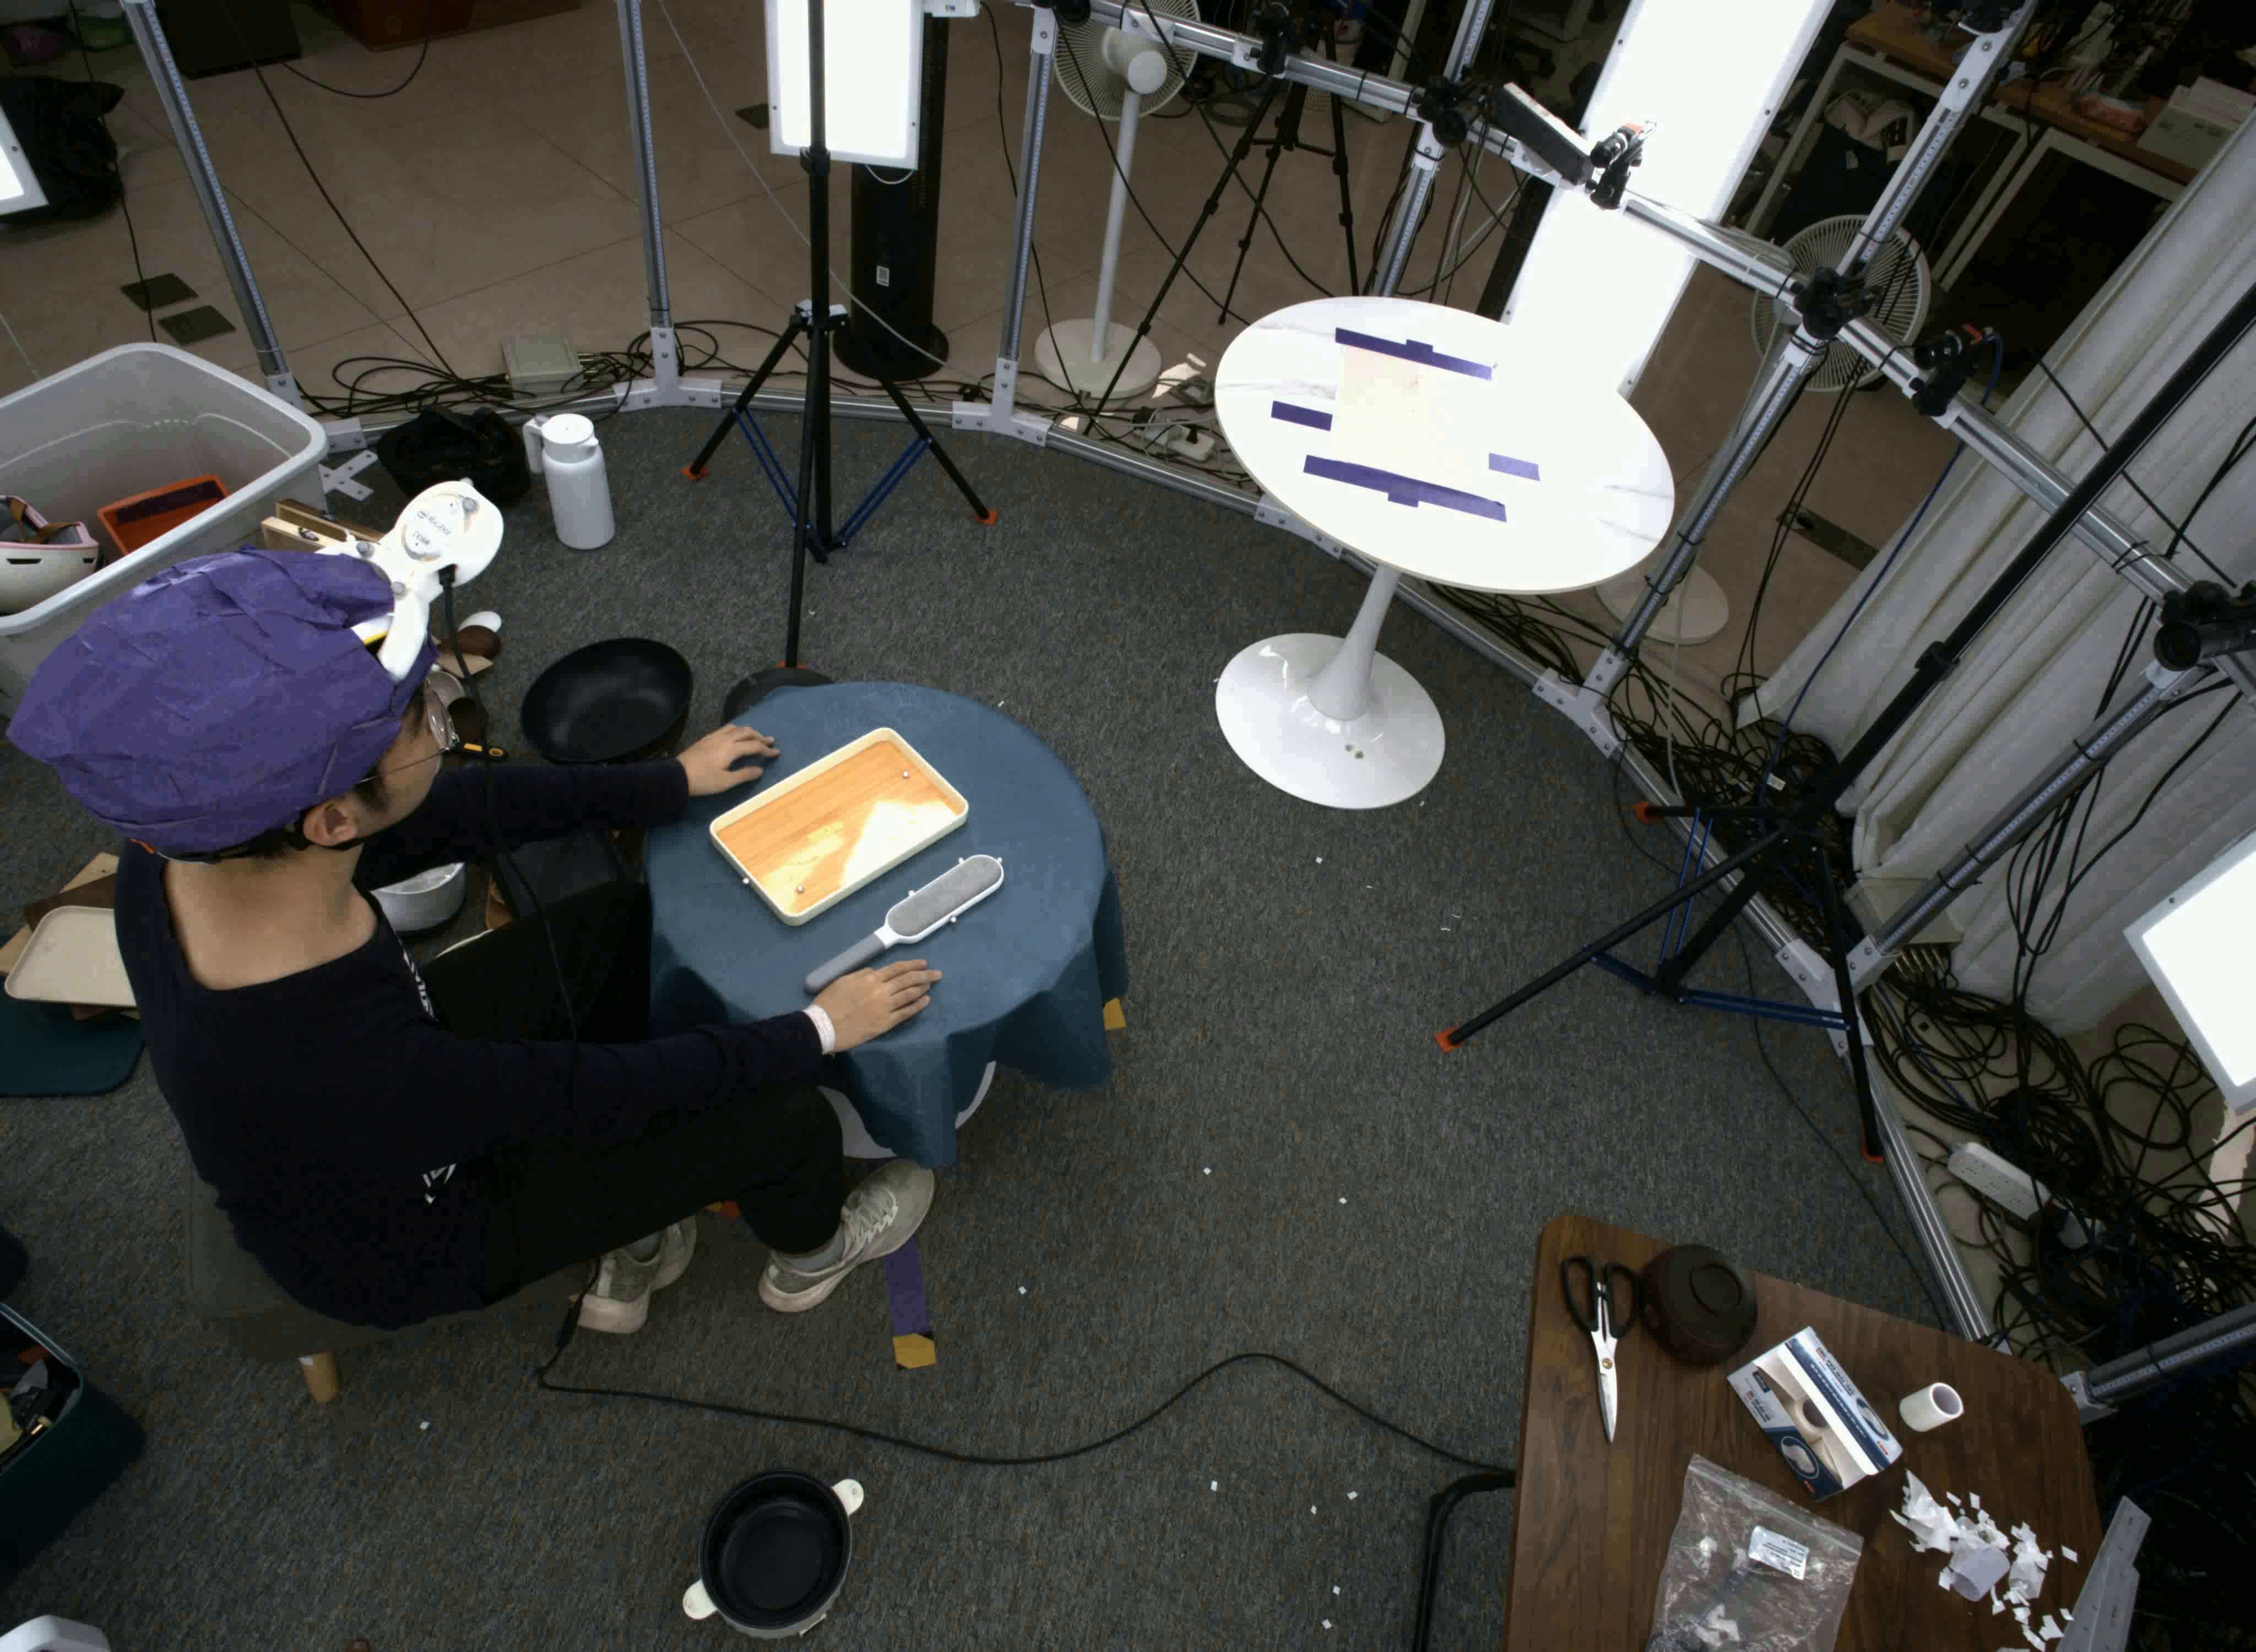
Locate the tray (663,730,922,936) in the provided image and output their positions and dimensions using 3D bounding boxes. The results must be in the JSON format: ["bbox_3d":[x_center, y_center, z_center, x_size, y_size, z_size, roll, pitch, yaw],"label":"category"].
[{"bbox_3d":[-0.439,0.002,1.713,0.187,0.028,0.301,42,56,17],"label":"tray"}]

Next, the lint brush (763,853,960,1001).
[{"bbox_3d":[-0.335,0.124,1.649,0.059,0.021,0.309,45,56,12],"label":"lint brush"}]
